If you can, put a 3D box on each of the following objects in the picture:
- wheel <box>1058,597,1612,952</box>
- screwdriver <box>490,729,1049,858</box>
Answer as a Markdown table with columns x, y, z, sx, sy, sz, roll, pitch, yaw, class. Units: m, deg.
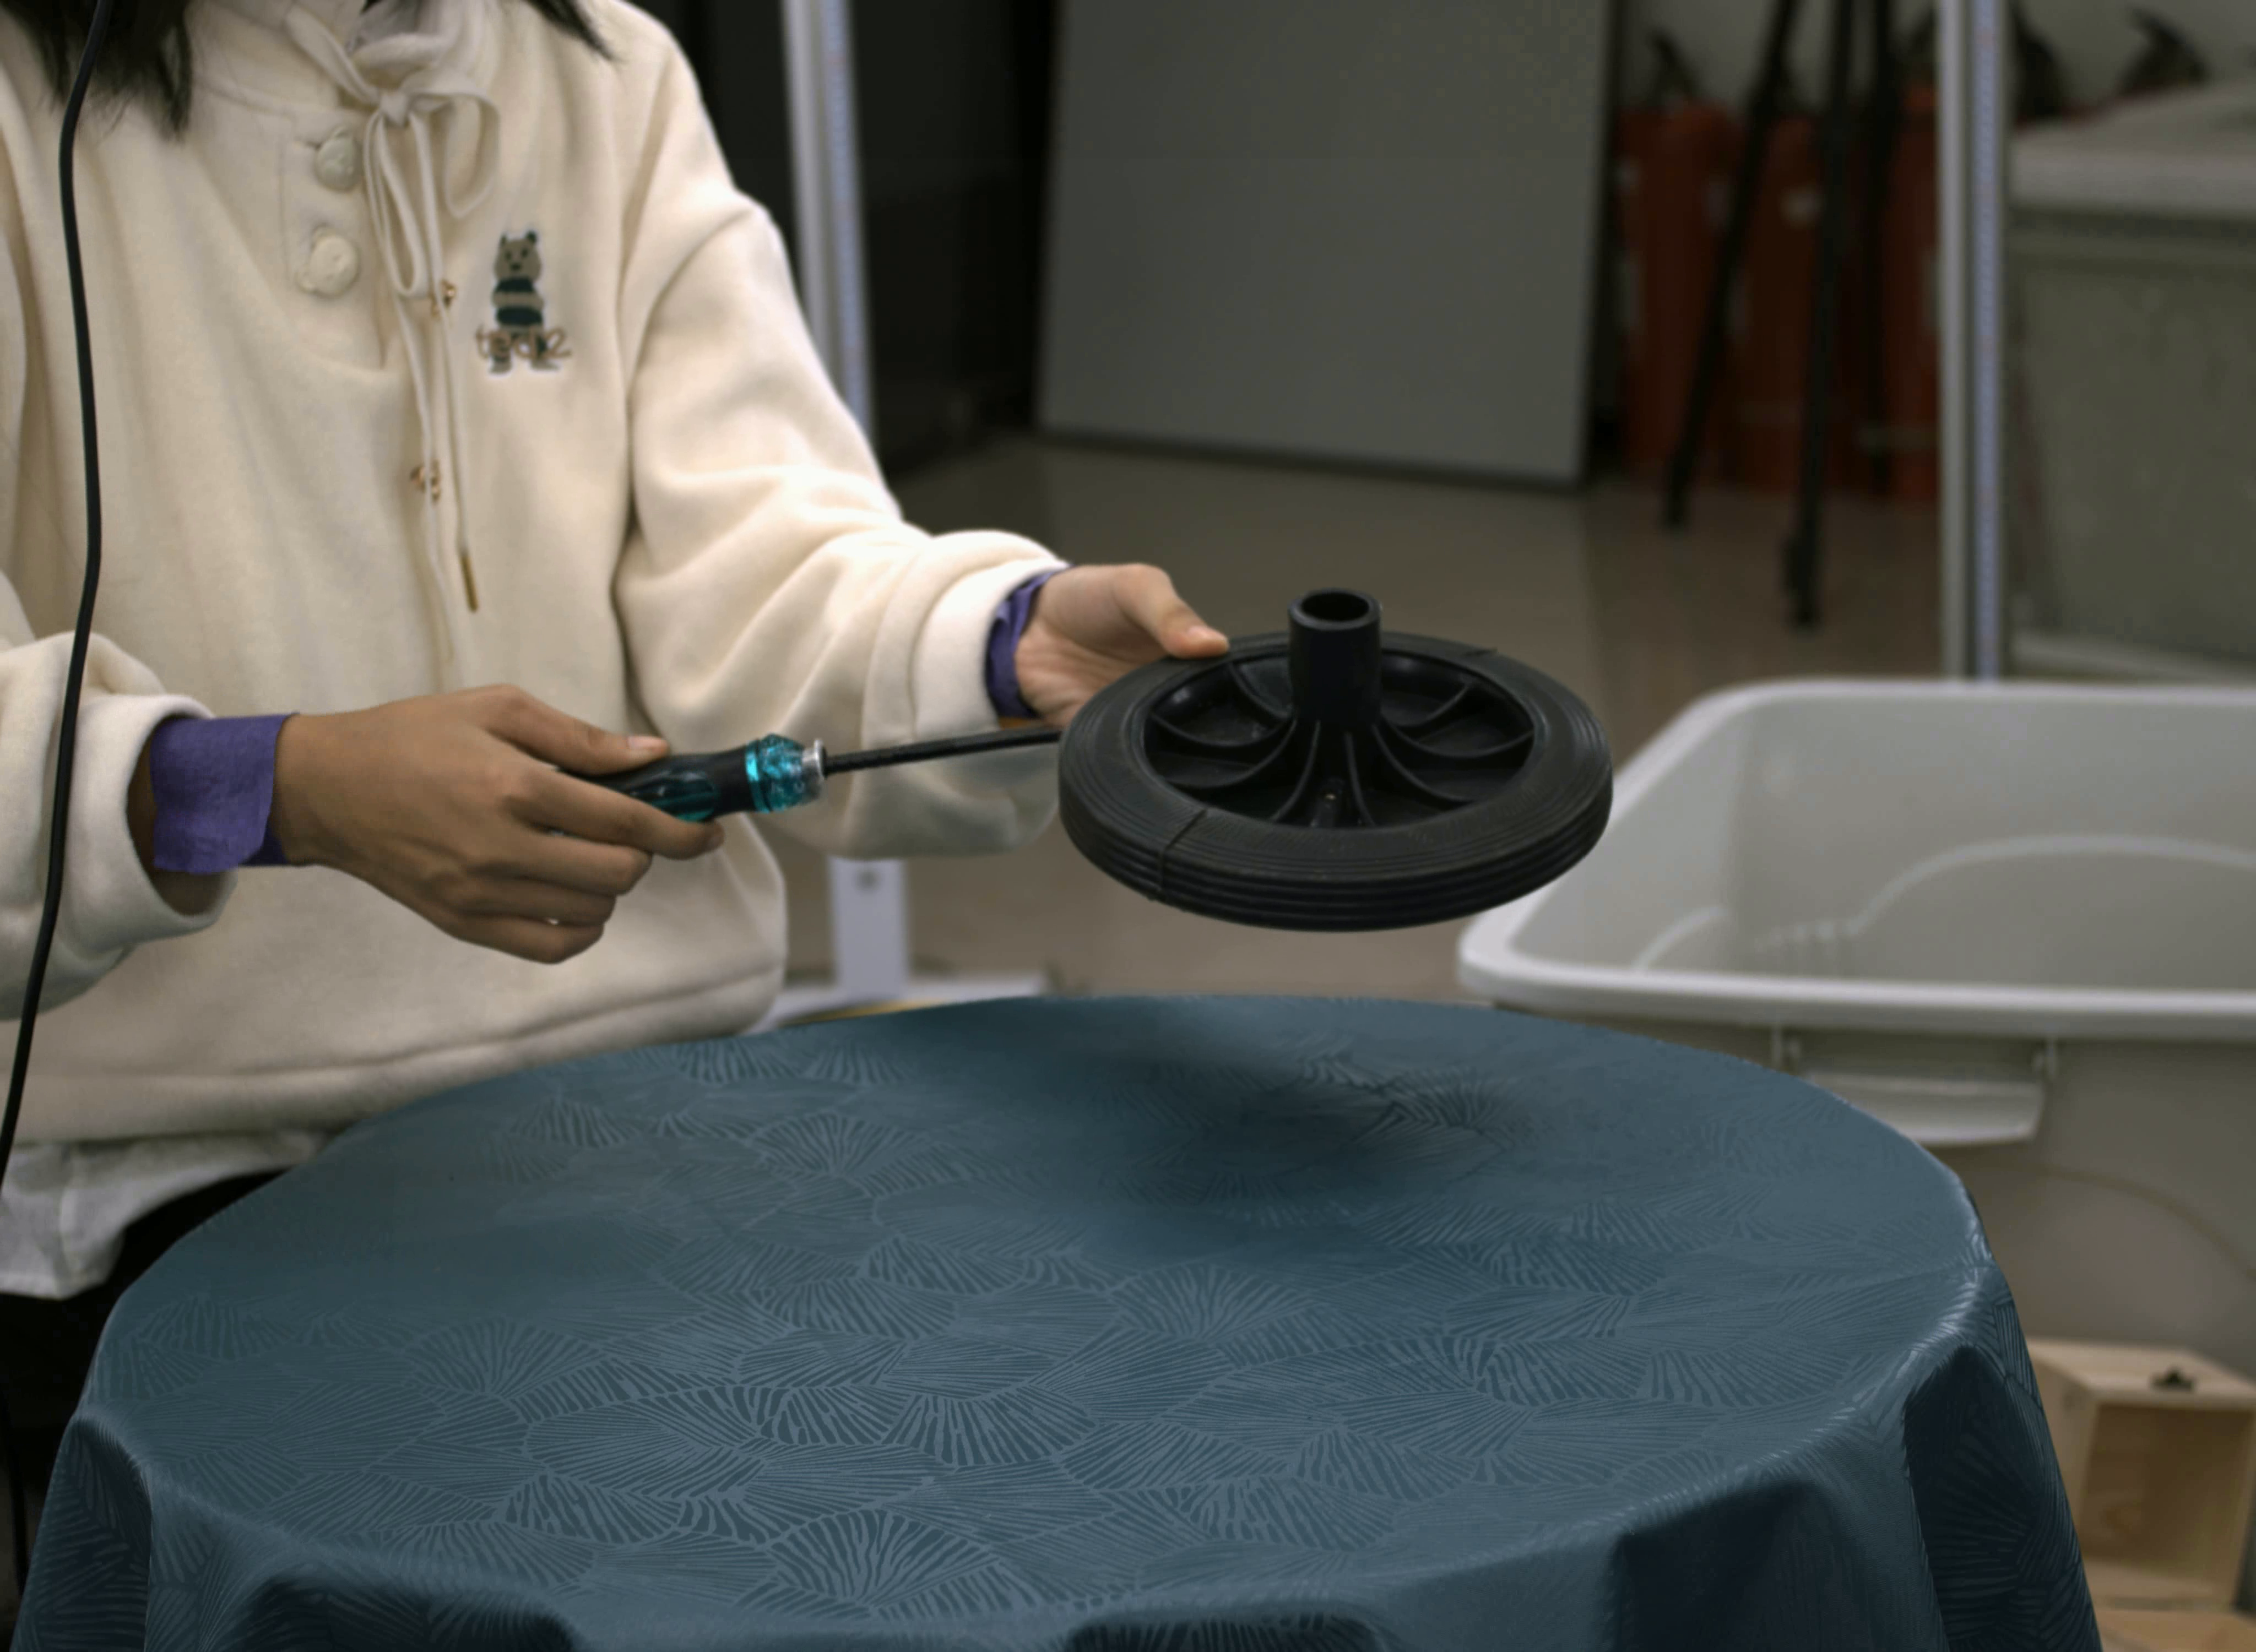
| x | y | z | sx | sy | sz | roll | pitch | yaw | class |
| --- | --- | --- | --- | --- | --- | --- | --- | --- | --- |
| 0.069 | -0.033 | 1.799 | 0.184 | 0.080 | 0.192 | -9 | 31 | -12 | wheel |
| -0.118 | -0.016 | 1.795 | 0.188 | 0.034 | 0.033 | -9 | 13 | 7 | screwdriver |
